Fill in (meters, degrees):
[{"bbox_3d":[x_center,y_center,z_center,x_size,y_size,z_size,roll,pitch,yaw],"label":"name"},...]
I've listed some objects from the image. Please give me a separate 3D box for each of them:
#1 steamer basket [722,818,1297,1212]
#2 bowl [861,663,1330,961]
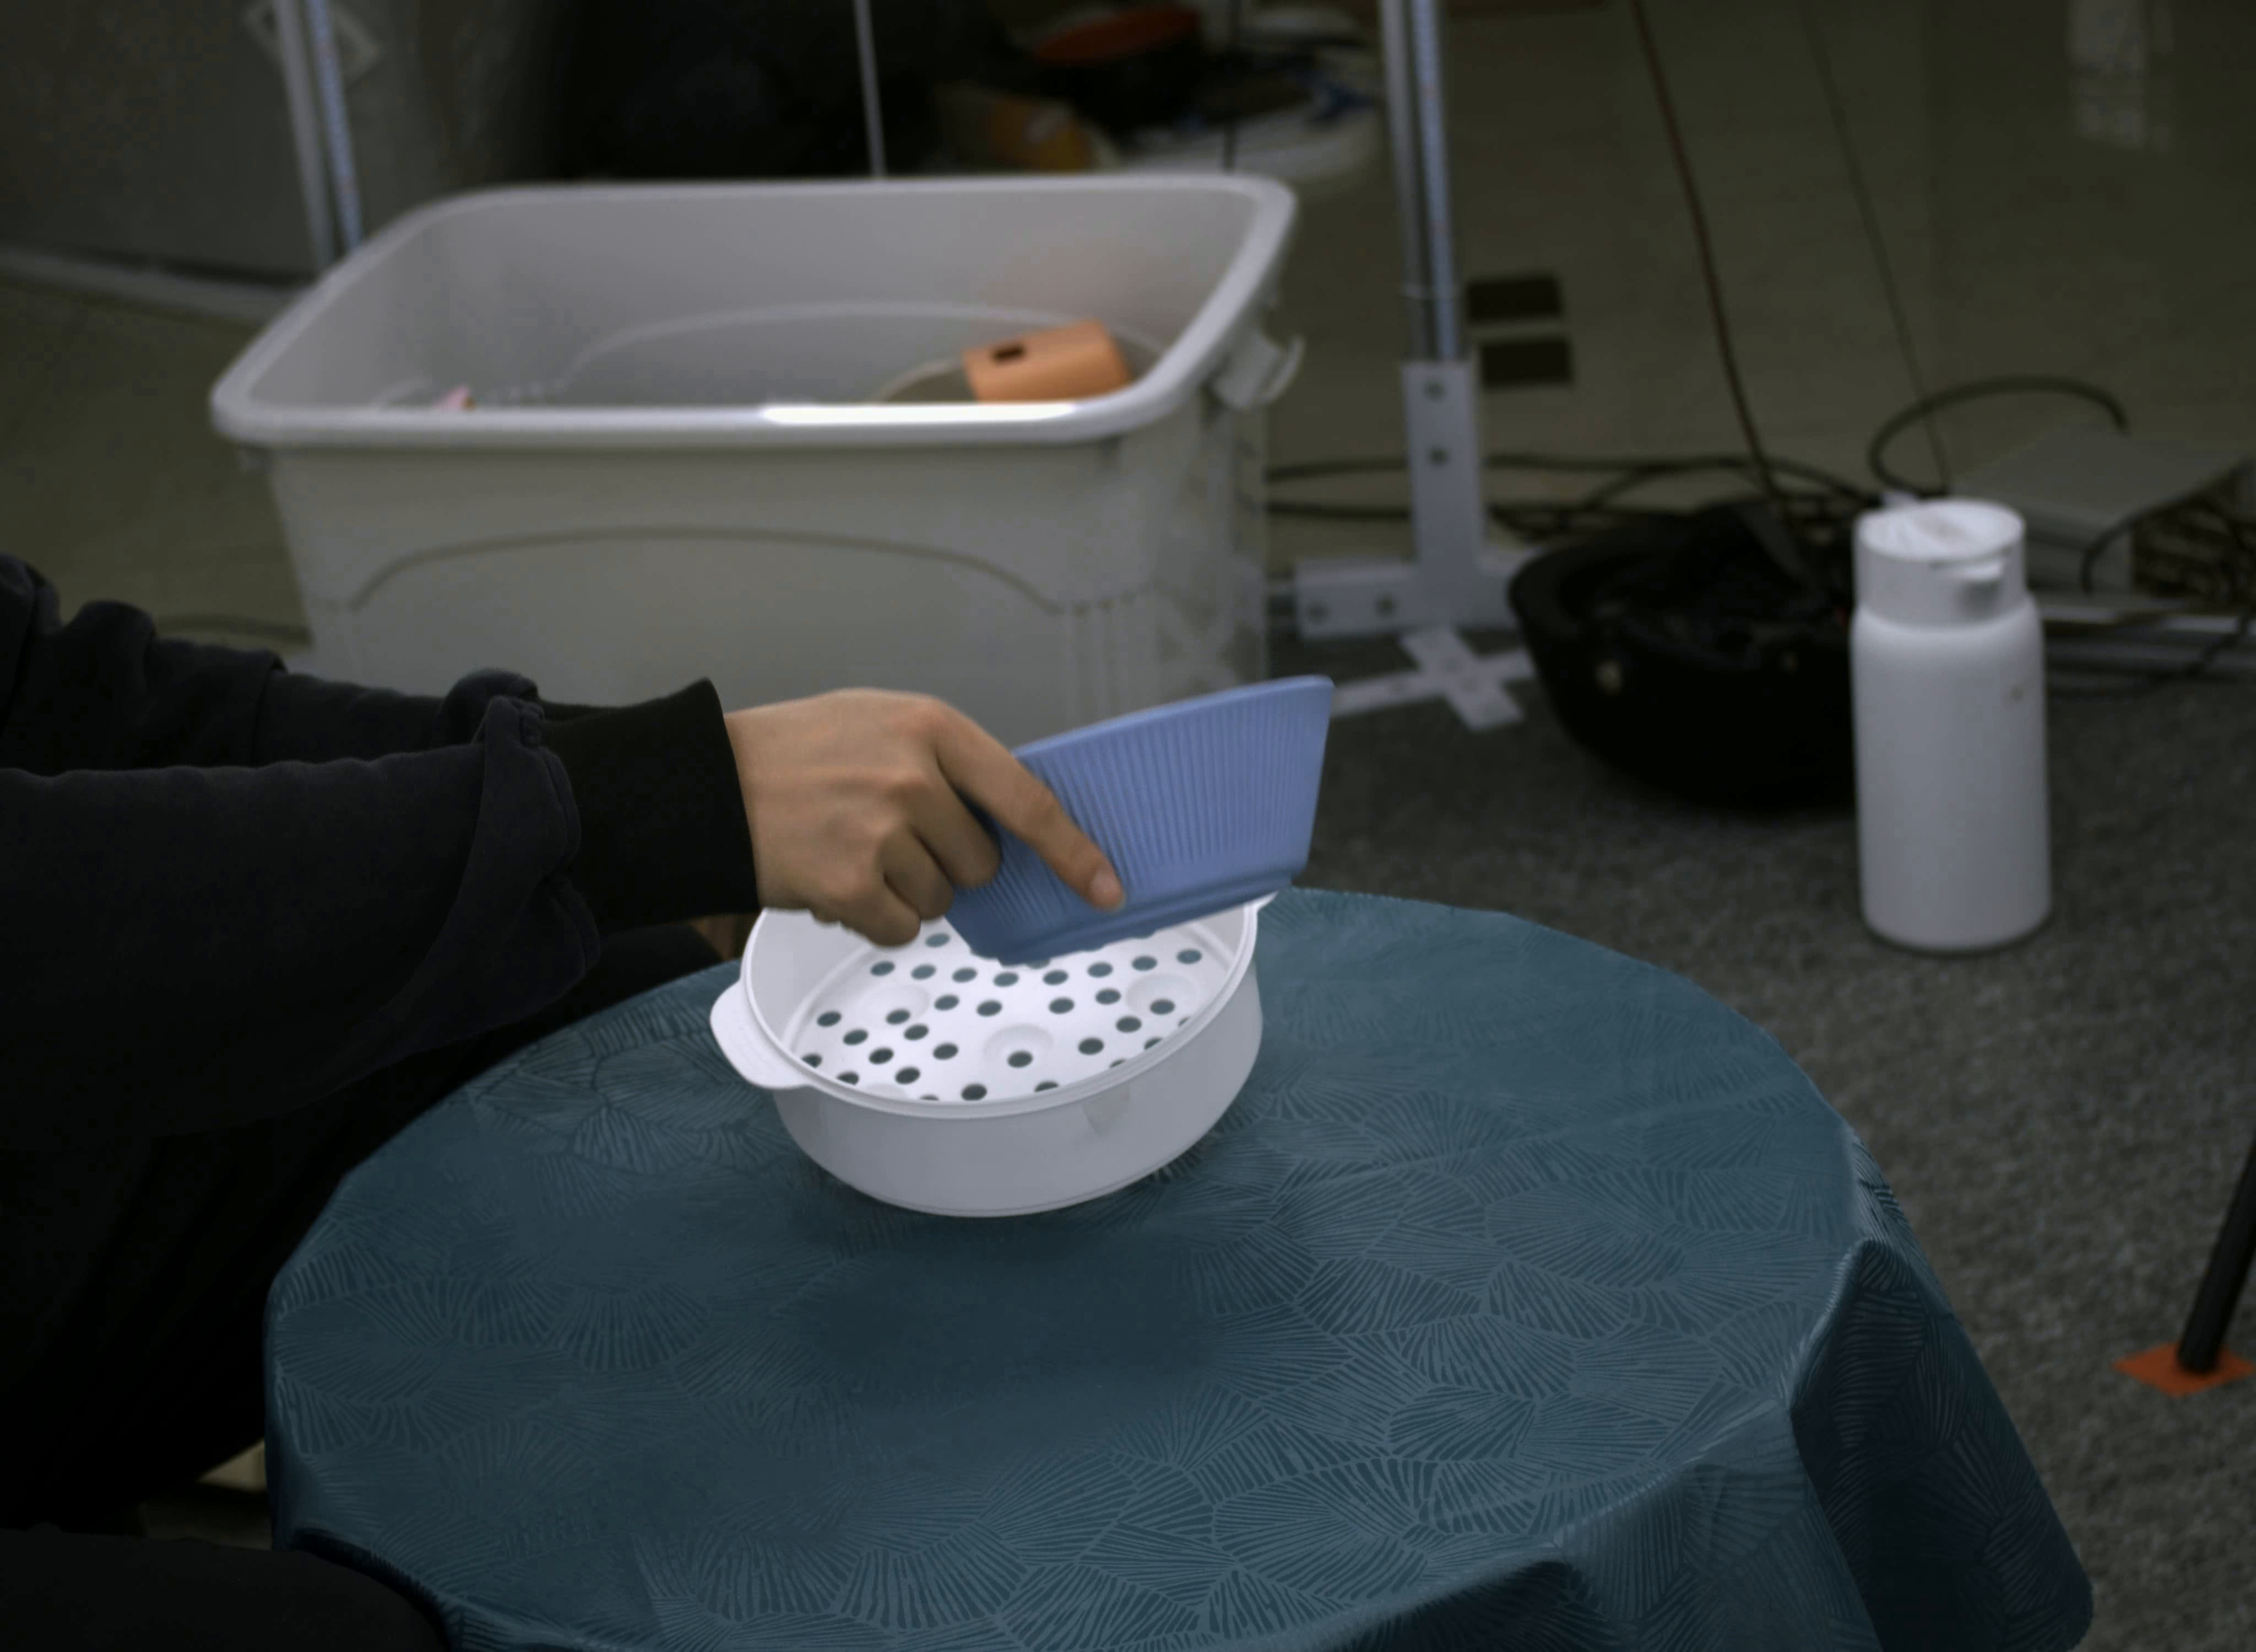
[{"bbox_3d":[-0.042,0.066,2.198,0.229,0.070,0.199,-20,40,-16],"label":"steamer basket"},{"bbox_3d":[-0.003,0.000,2.023,0.176,0.070,0.176,-17,-5,-1],"label":"bowl"}]
